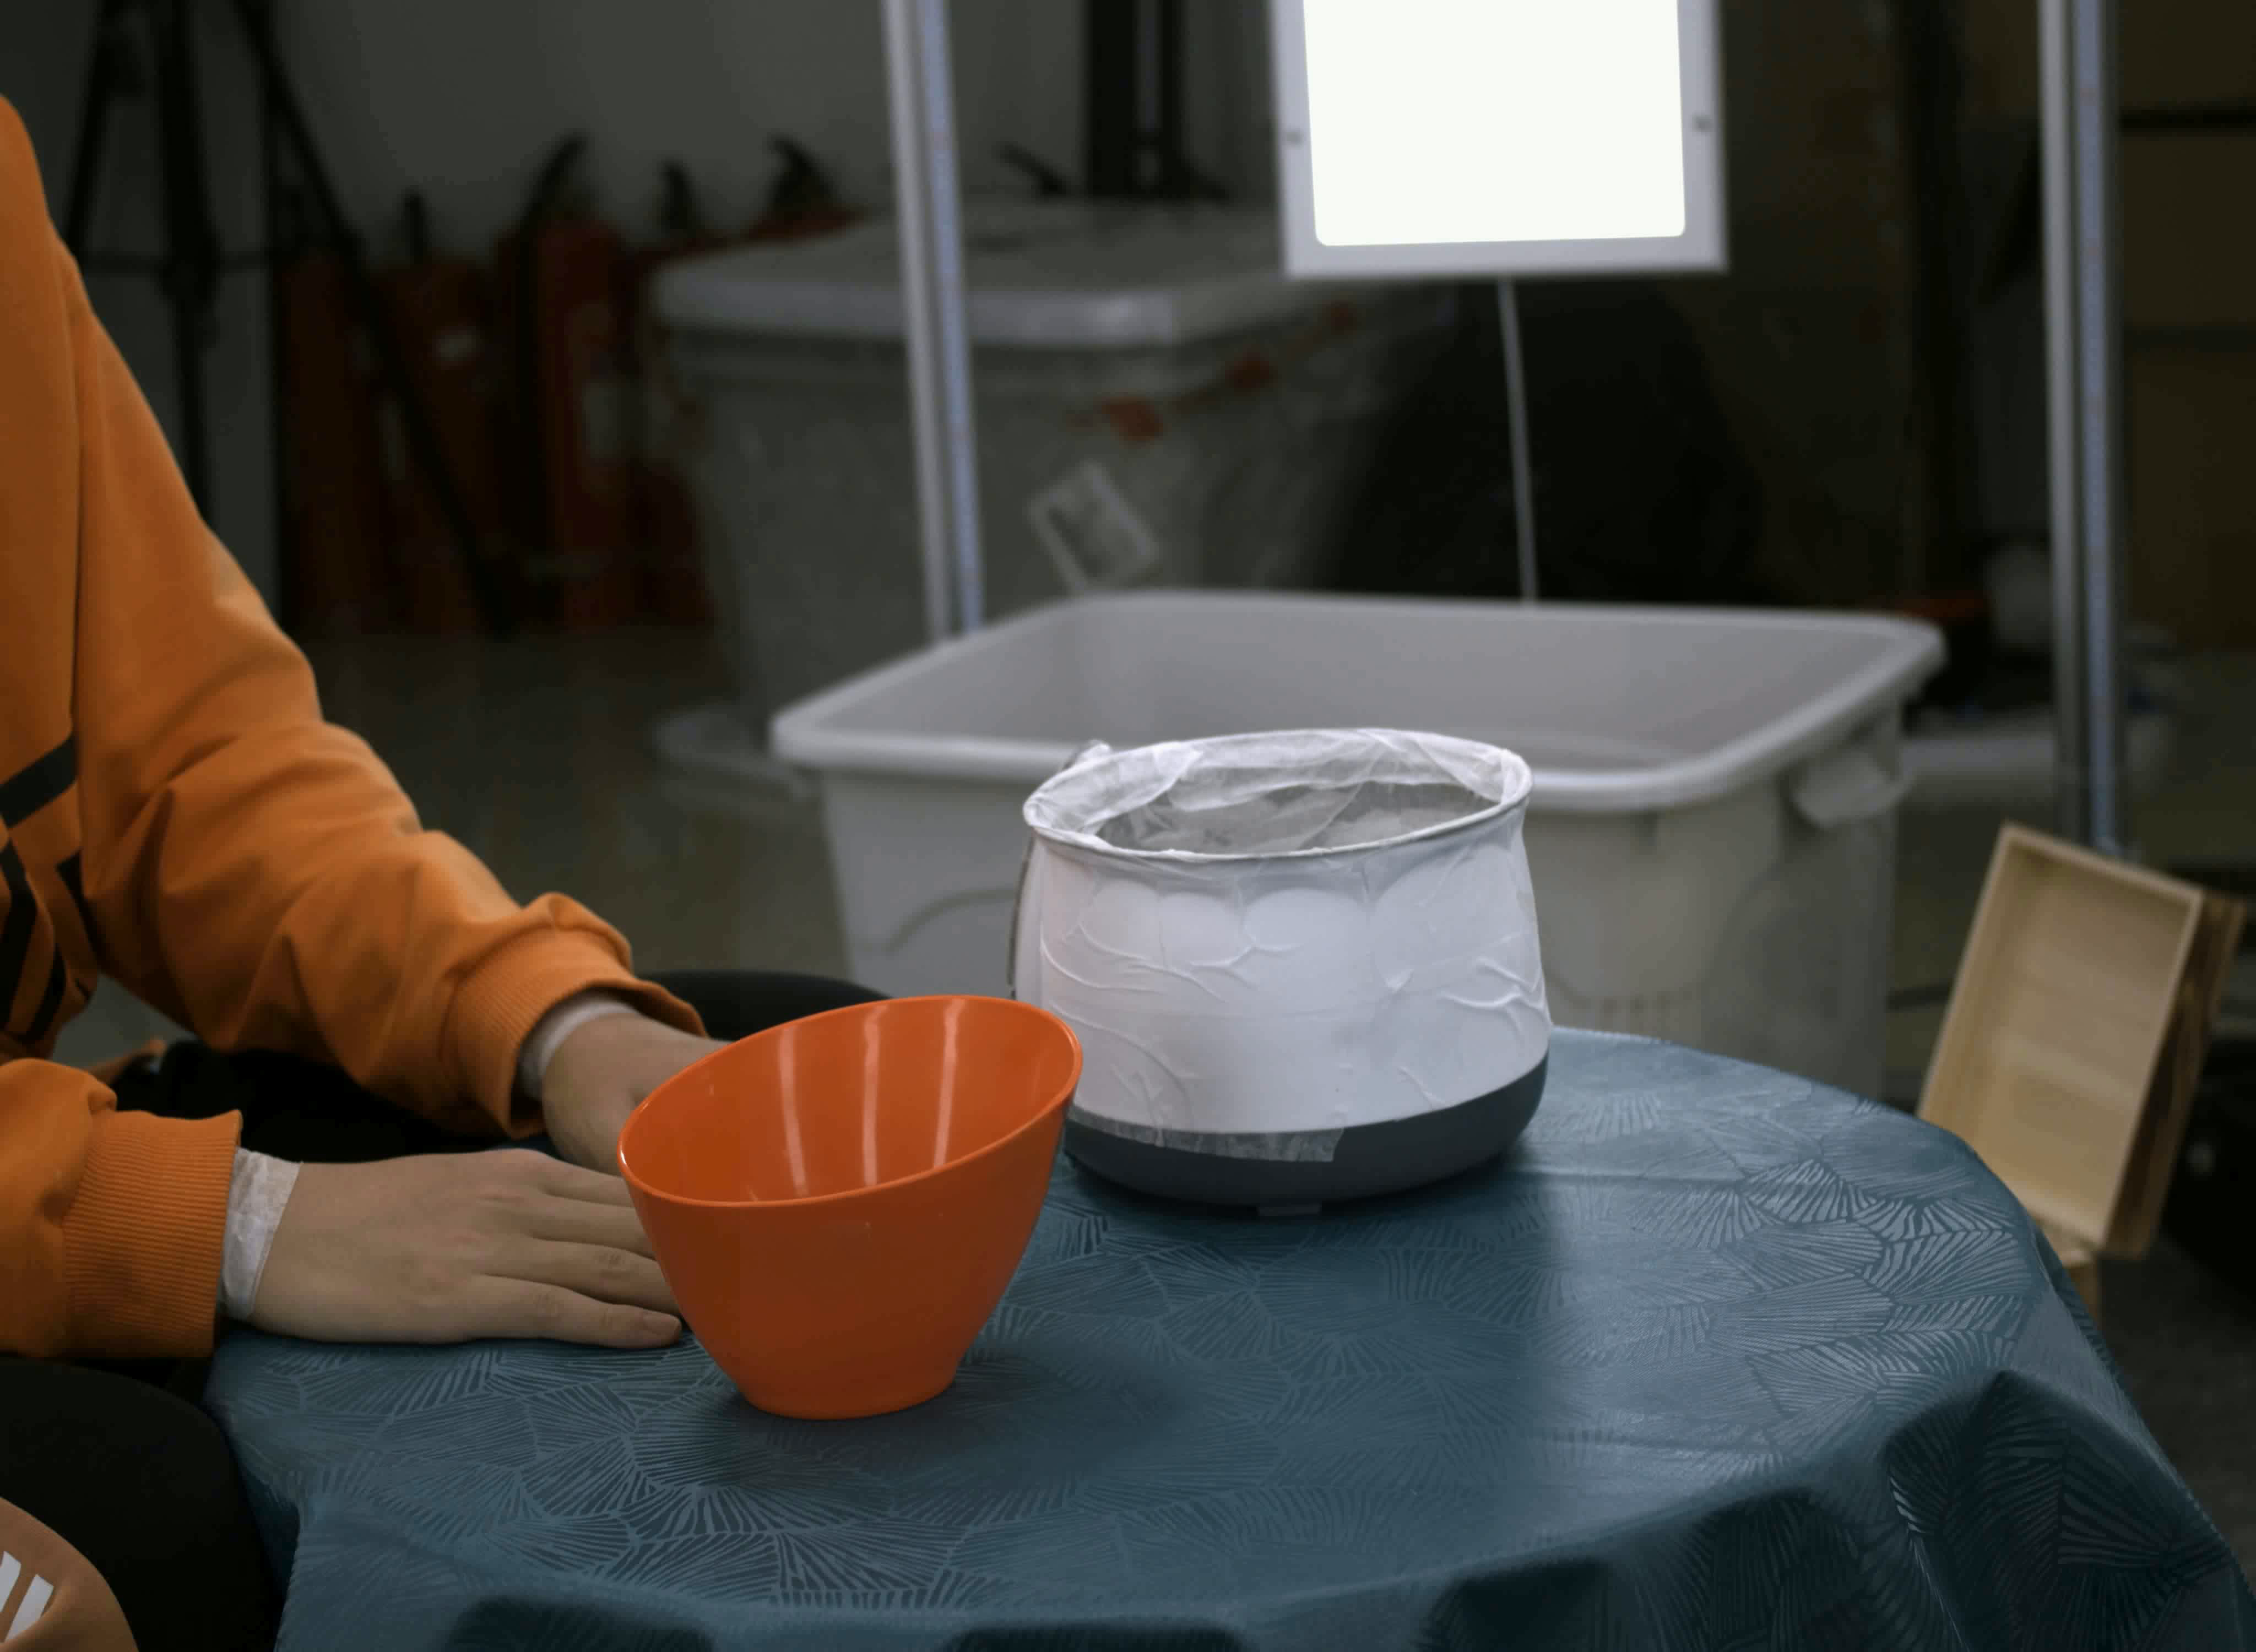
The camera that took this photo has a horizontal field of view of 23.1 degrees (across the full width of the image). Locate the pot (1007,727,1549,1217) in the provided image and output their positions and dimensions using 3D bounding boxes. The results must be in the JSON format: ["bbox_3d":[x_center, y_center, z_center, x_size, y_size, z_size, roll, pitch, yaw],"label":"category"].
[{"bbox_3d":[0.038,0.045,1.926,0.174,0.137,0.239,-15,17,-38],"label":"pot"}]

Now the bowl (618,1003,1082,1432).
[{"bbox_3d":[-0.082,0.126,1.725,0.148,0.105,0.148,-6,15,0],"label":"bowl"}]
